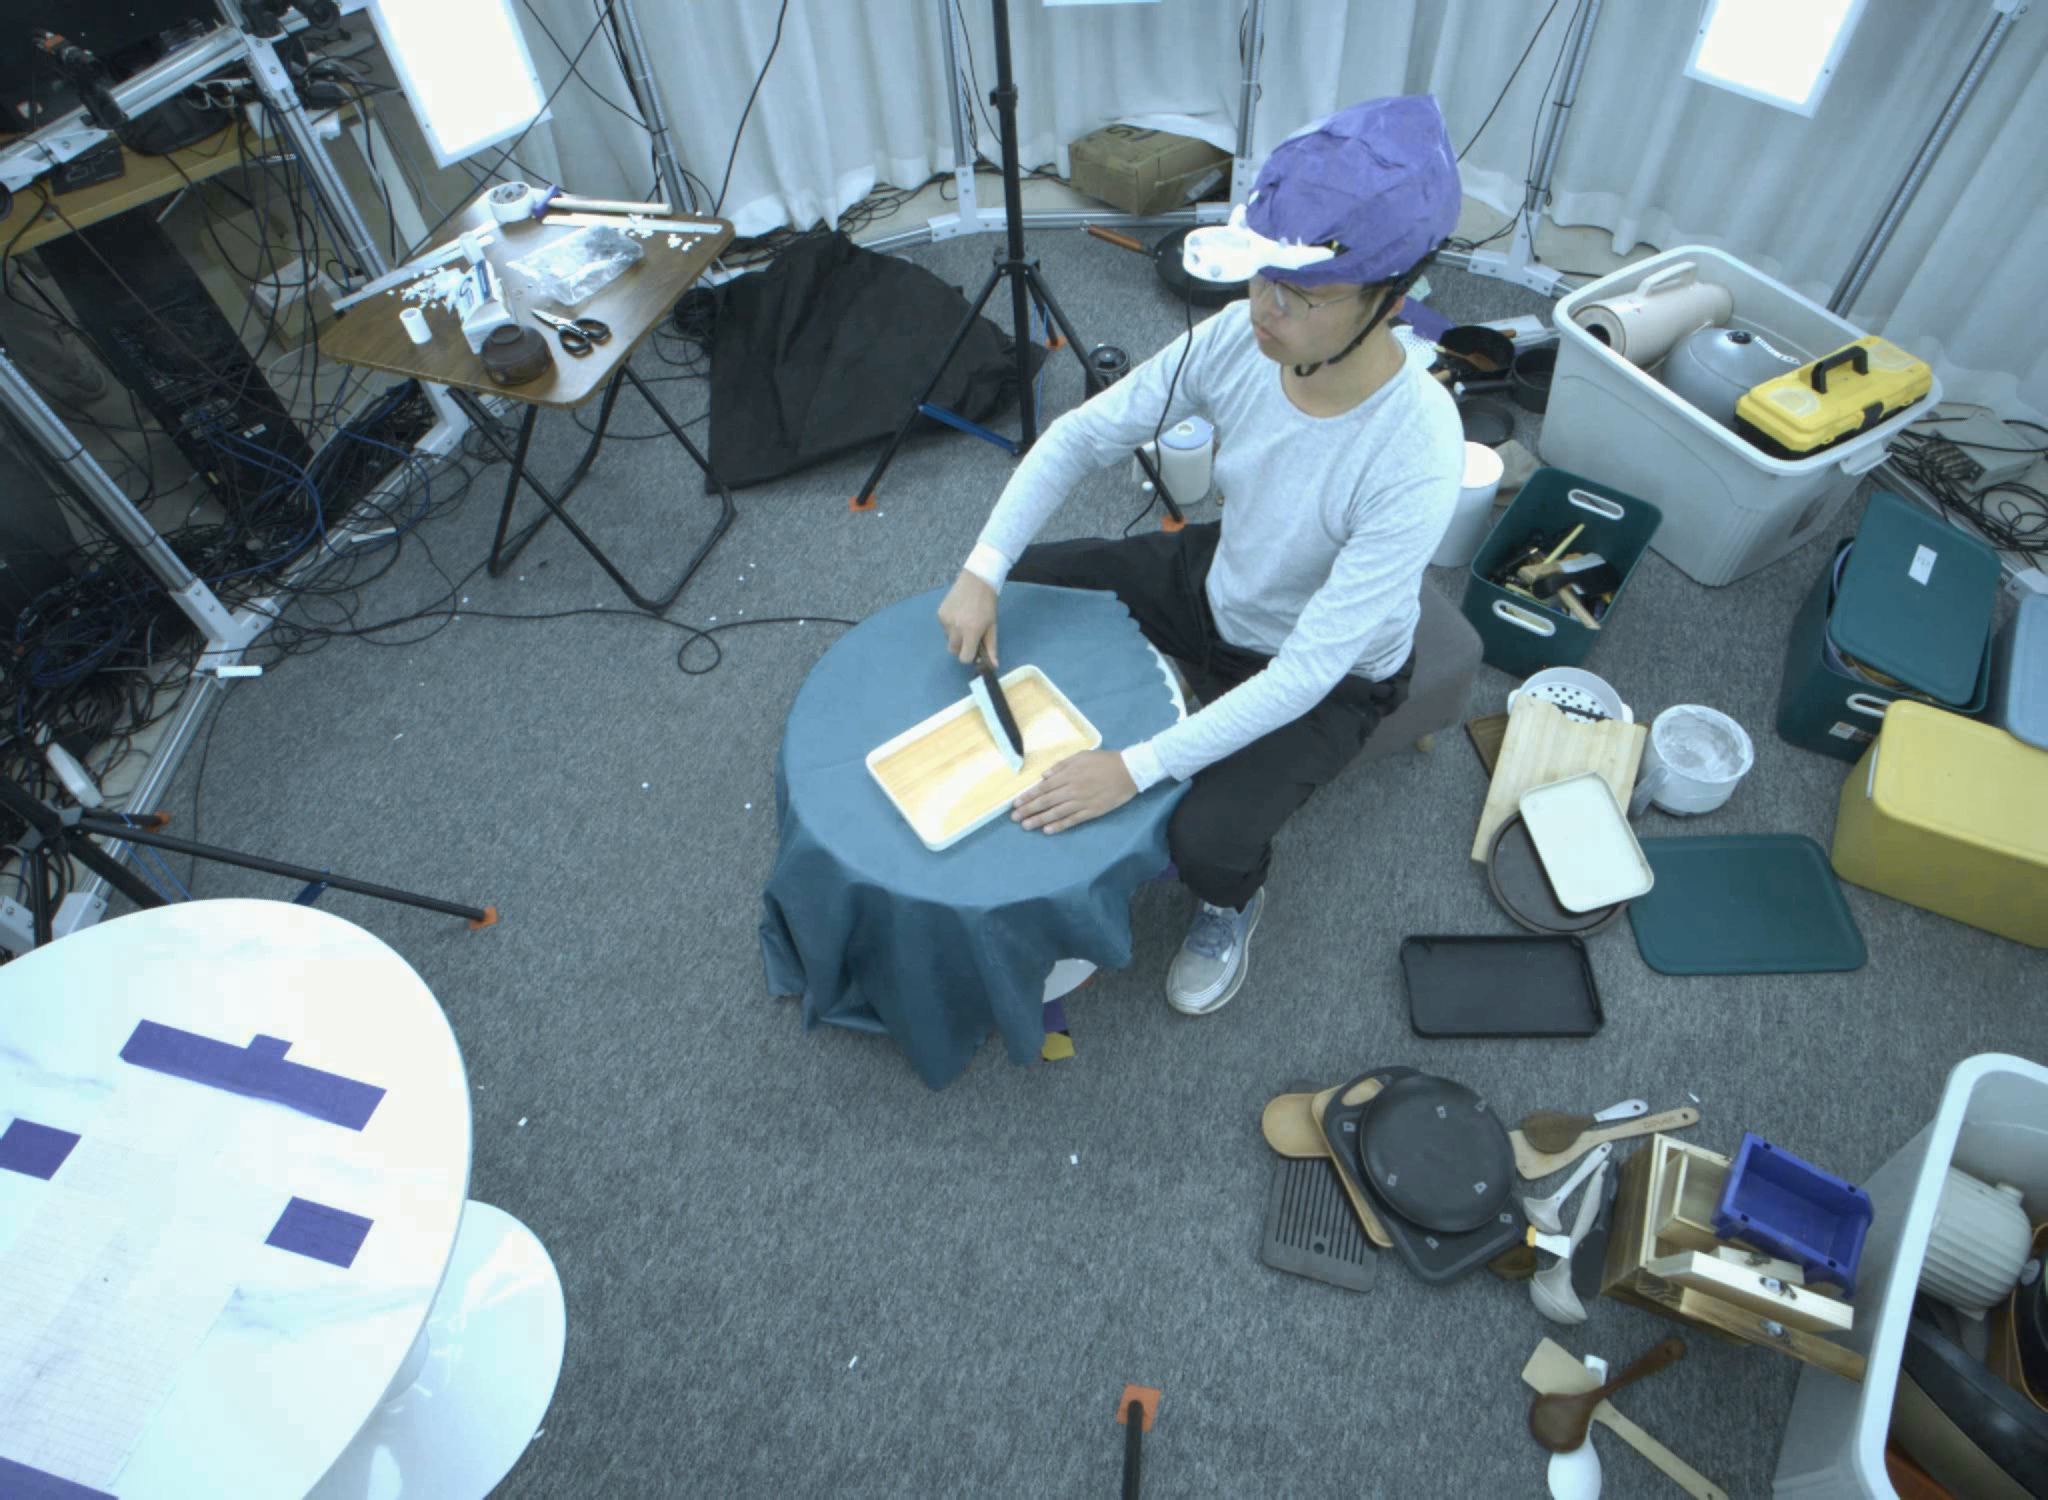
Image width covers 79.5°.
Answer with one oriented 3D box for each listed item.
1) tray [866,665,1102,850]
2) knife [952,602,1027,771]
[{"bbox_3d":[-0.057,0.006,1.776,0.303,0.028,0.188,-30,59,-19],"label":"tray"},{"bbox_3d":[-0.052,-0.095,1.812,0.050,0.020,0.285,-30,68,22],"label":"knife"}]
